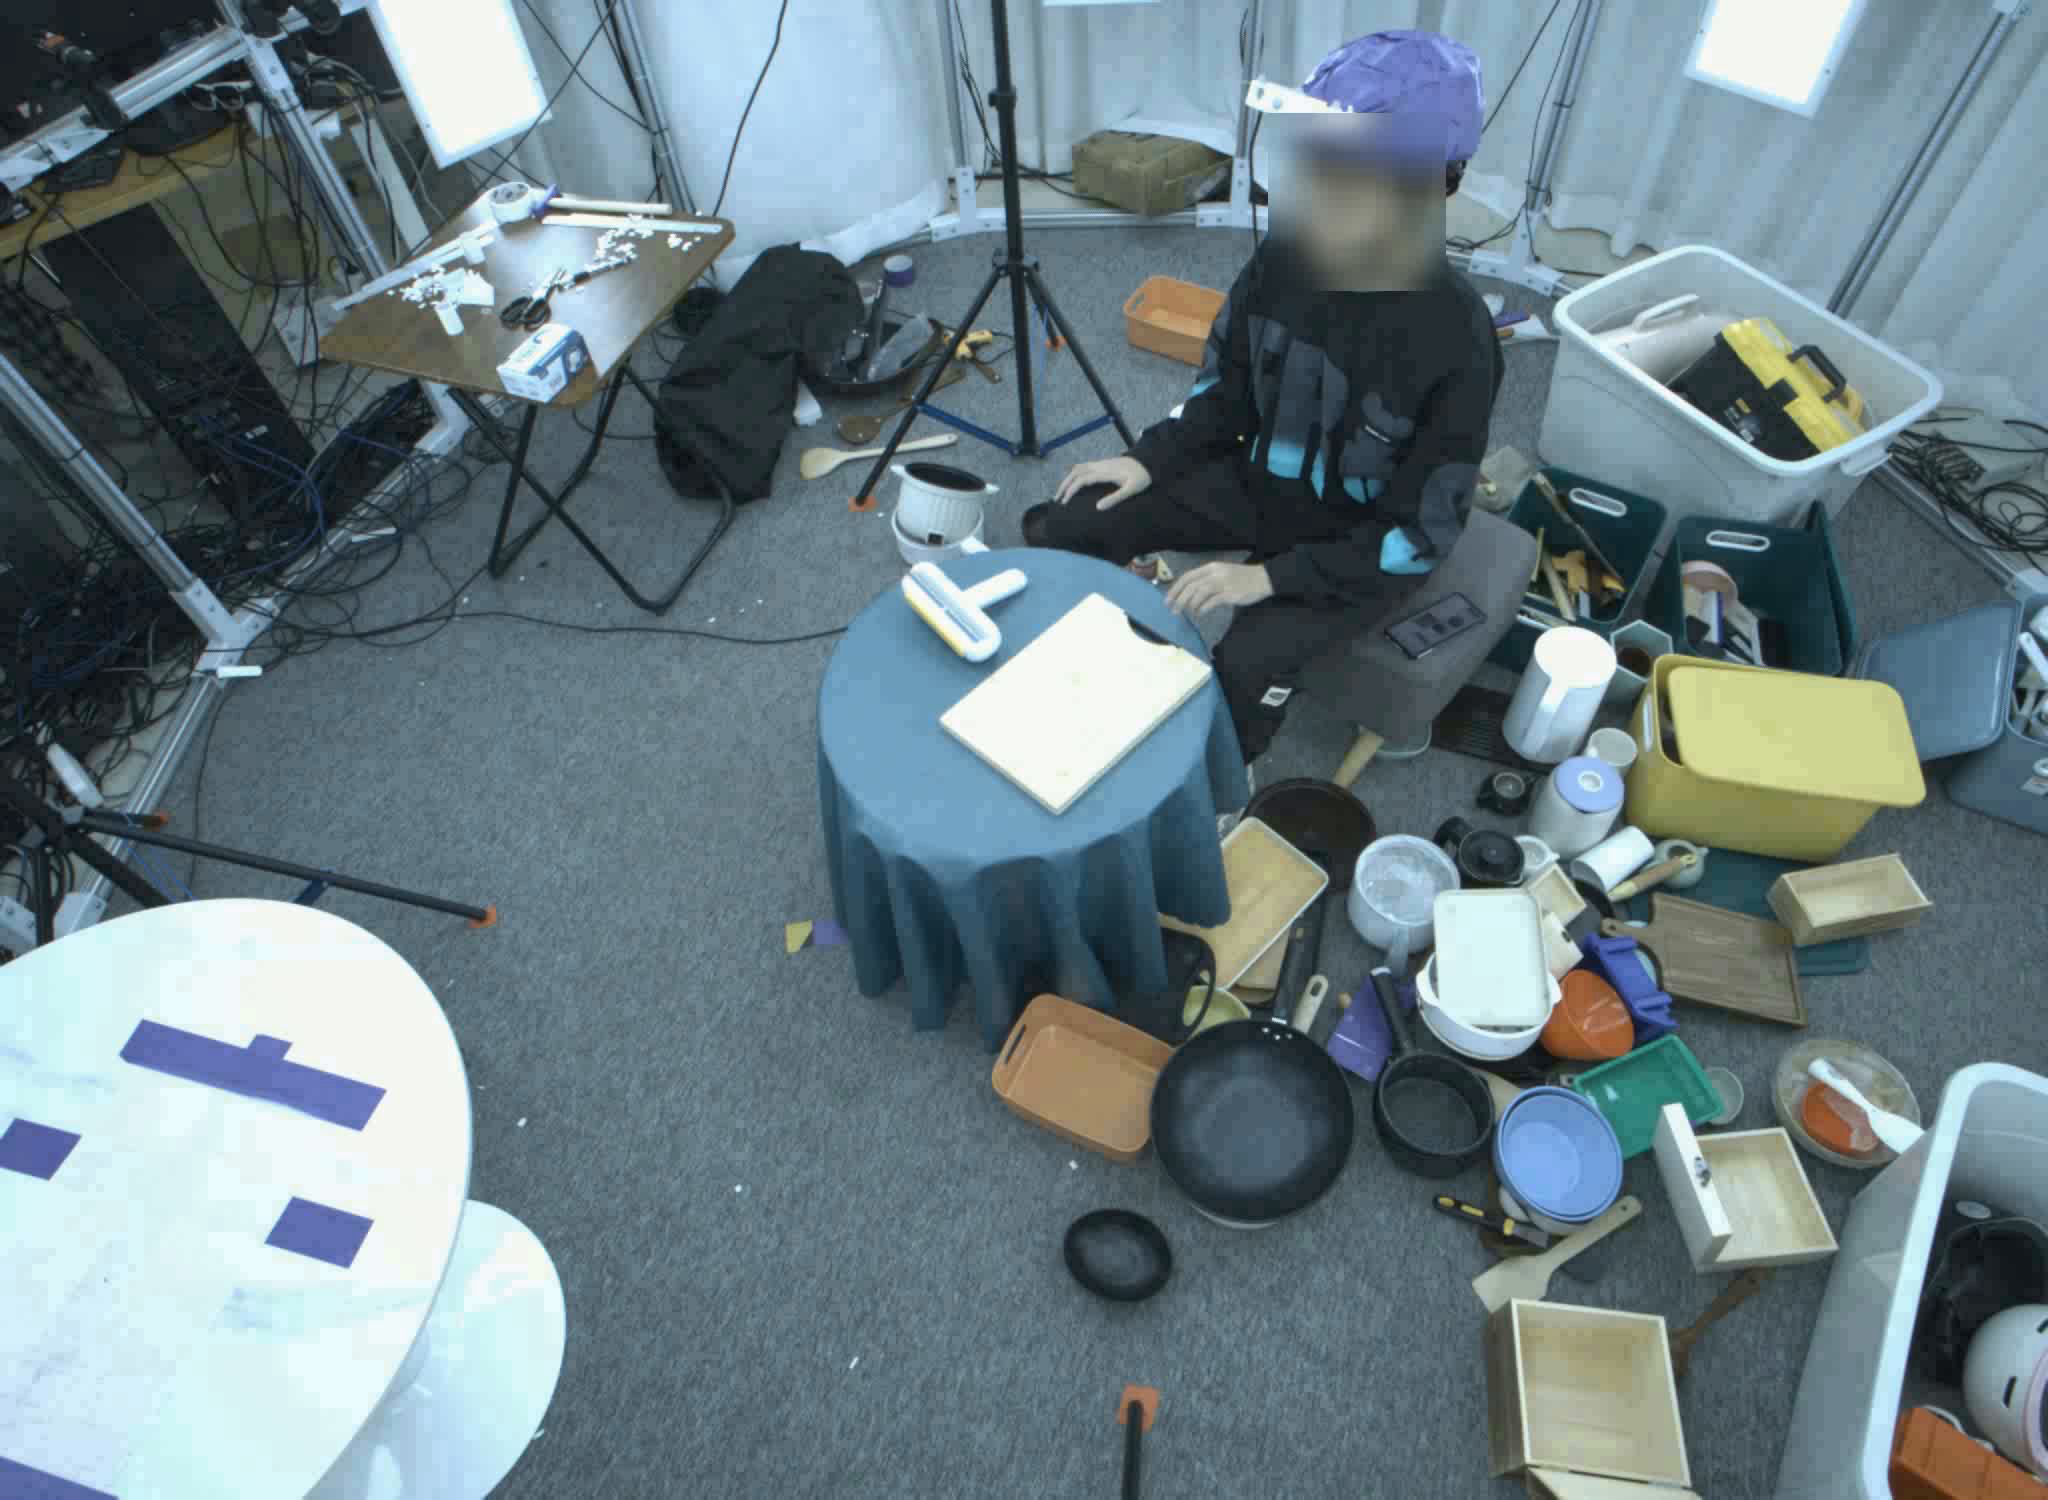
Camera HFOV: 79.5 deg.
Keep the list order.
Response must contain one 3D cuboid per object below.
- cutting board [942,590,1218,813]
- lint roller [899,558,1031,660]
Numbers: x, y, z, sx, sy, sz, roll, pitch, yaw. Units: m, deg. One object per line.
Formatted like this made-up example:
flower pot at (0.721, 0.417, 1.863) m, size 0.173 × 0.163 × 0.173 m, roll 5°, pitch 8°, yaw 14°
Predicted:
cutting board at (0.083, -0.082, 1.828) m, size 0.246 × 0.024 × 0.351 m, roll 37°, pitch 64°, yaw 24°
lint roller at (-0.072, -0.242, 1.916) m, size 0.194 × 0.075 × 0.190 m, roll -33°, pitch 65°, yaw -22°
